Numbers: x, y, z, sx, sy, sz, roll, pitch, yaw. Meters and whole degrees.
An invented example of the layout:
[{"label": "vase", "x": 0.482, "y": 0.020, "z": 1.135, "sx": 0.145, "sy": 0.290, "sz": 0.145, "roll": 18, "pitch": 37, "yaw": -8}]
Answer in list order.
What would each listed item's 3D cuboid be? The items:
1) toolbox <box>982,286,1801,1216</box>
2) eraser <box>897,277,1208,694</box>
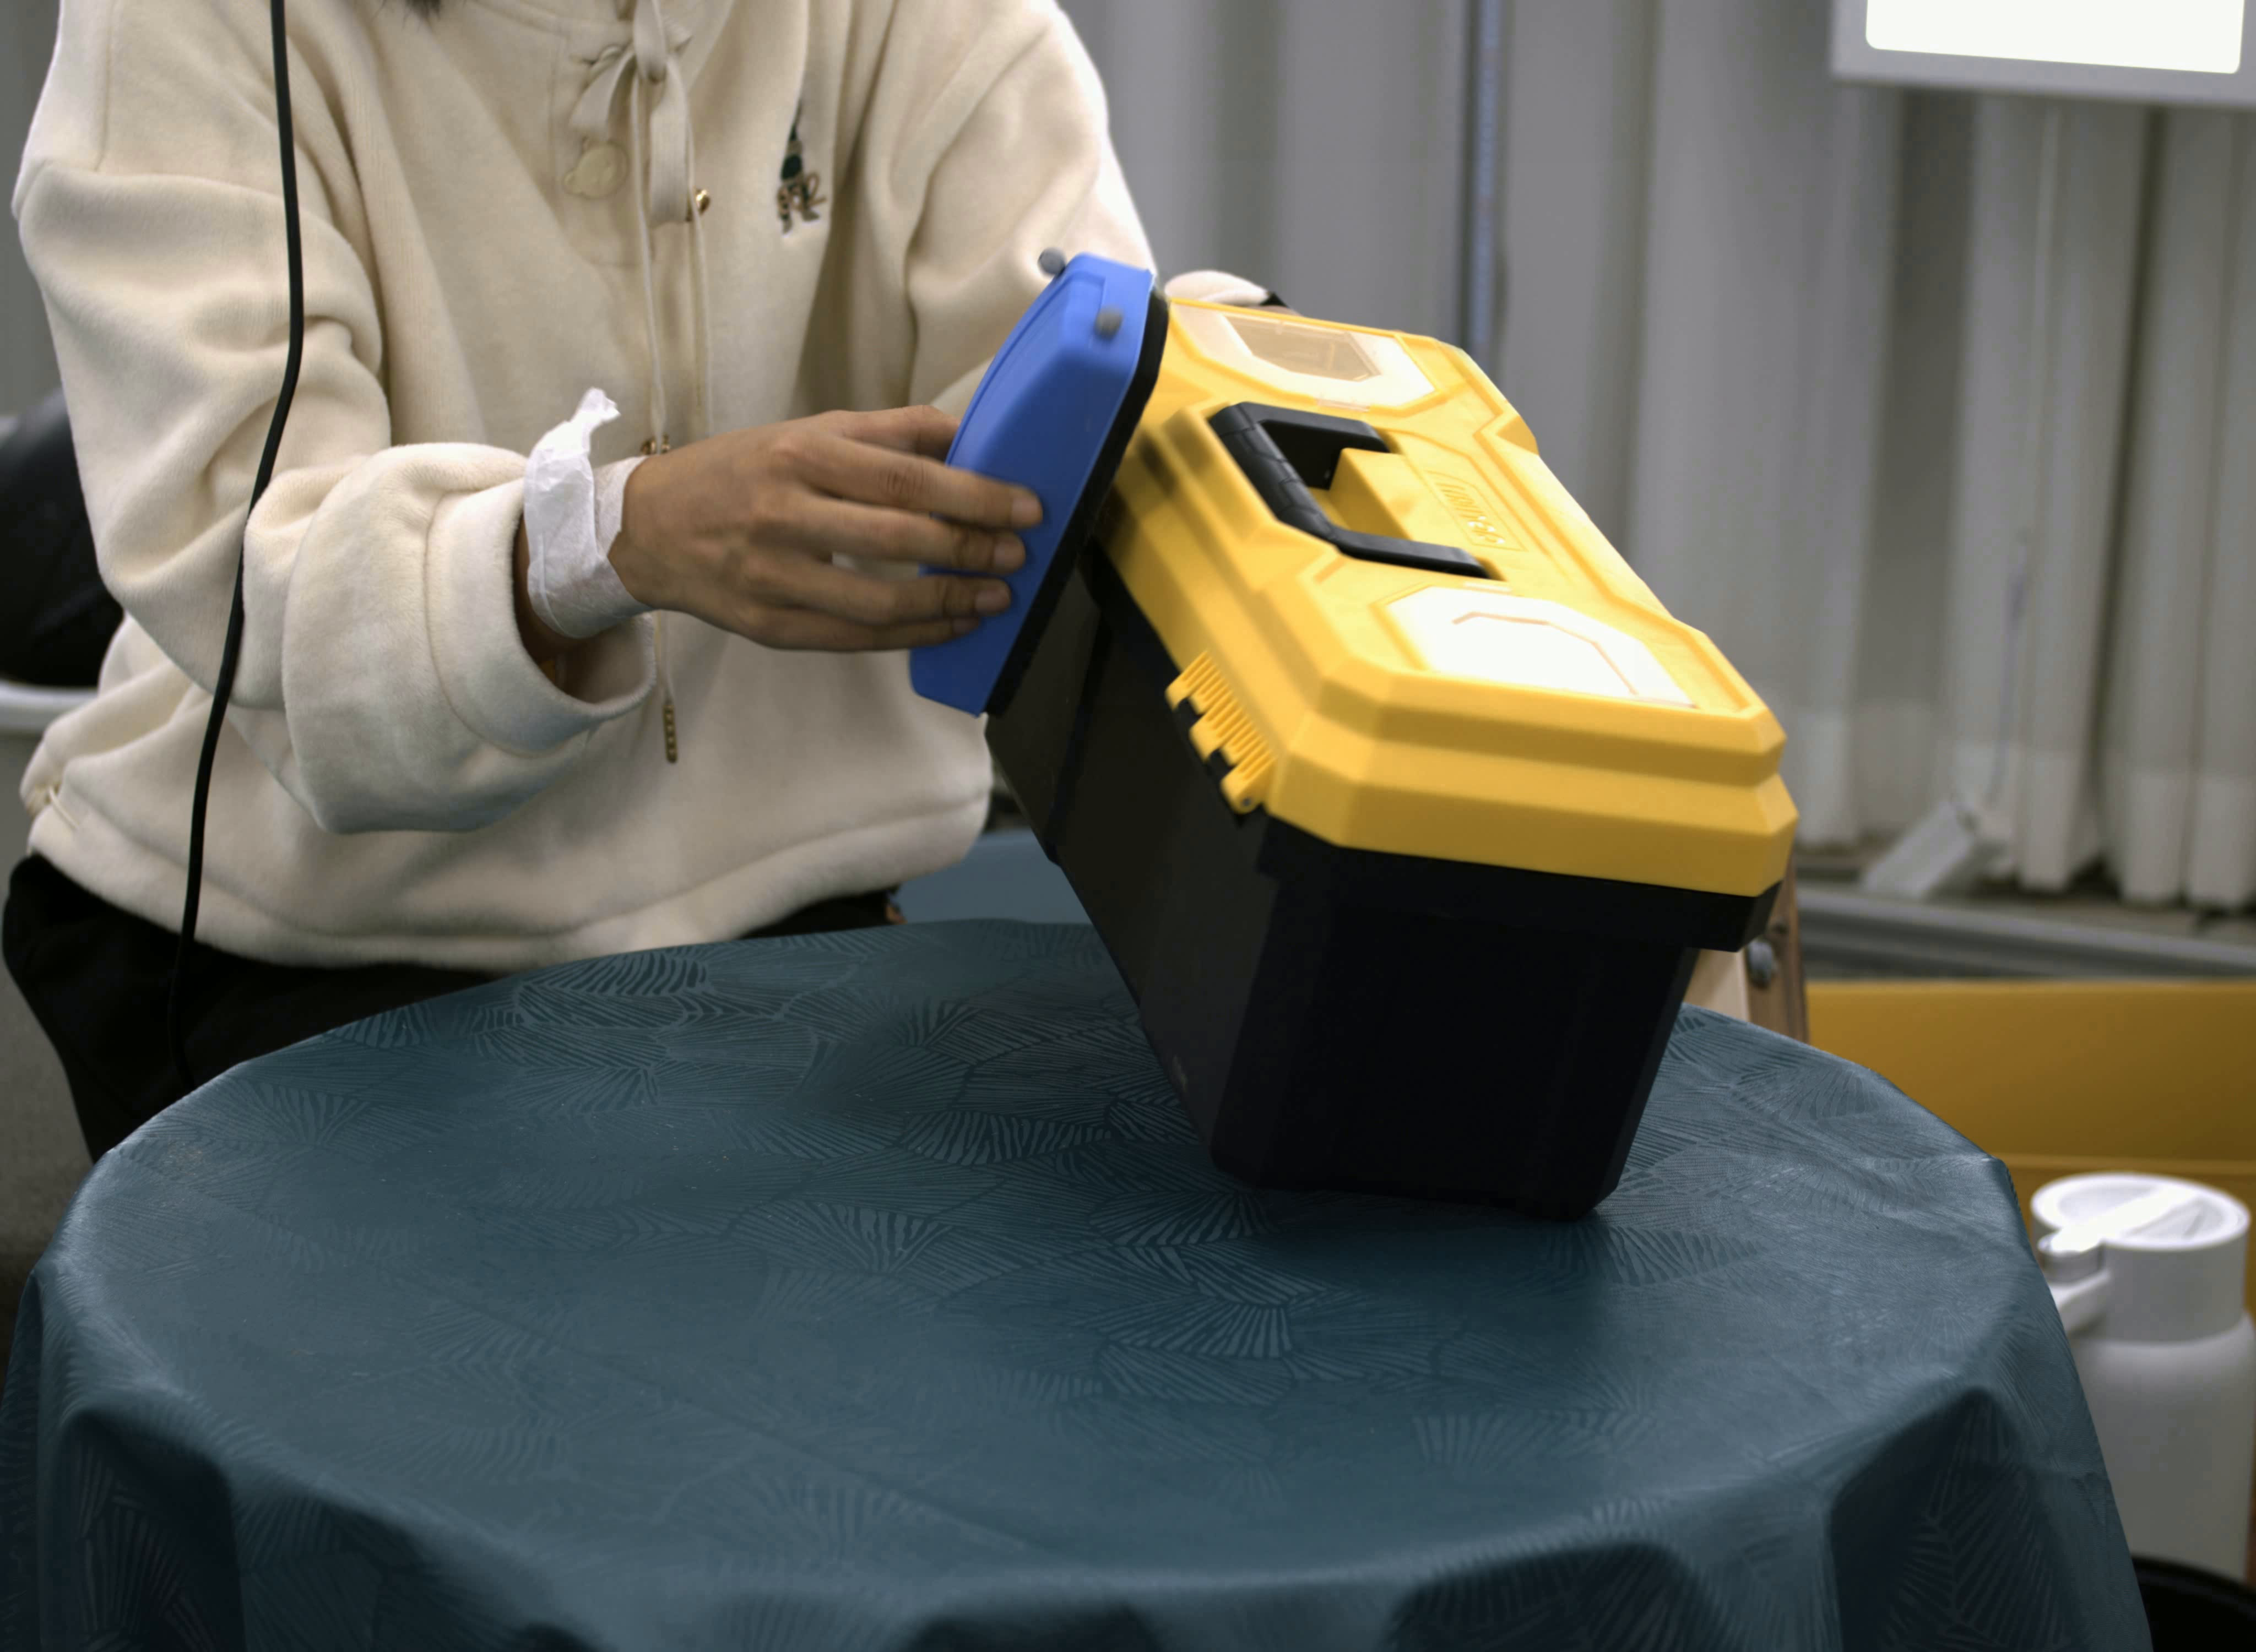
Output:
[{"label": "toolbox", "x": 0.069, "y": -0.030, "z": 1.677, "sx": 0.182, "sy": 0.174, "sz": 0.347, "roll": 7, "pitch": 24, "yaw": -20}, {"label": "eraser", "x": -0.030, "y": -0.107, "z": 1.649, "sx": 0.048, "sy": 0.162, "sz": 0.053, "roll": 18, "pitch": 51, "yaw": -20}]
